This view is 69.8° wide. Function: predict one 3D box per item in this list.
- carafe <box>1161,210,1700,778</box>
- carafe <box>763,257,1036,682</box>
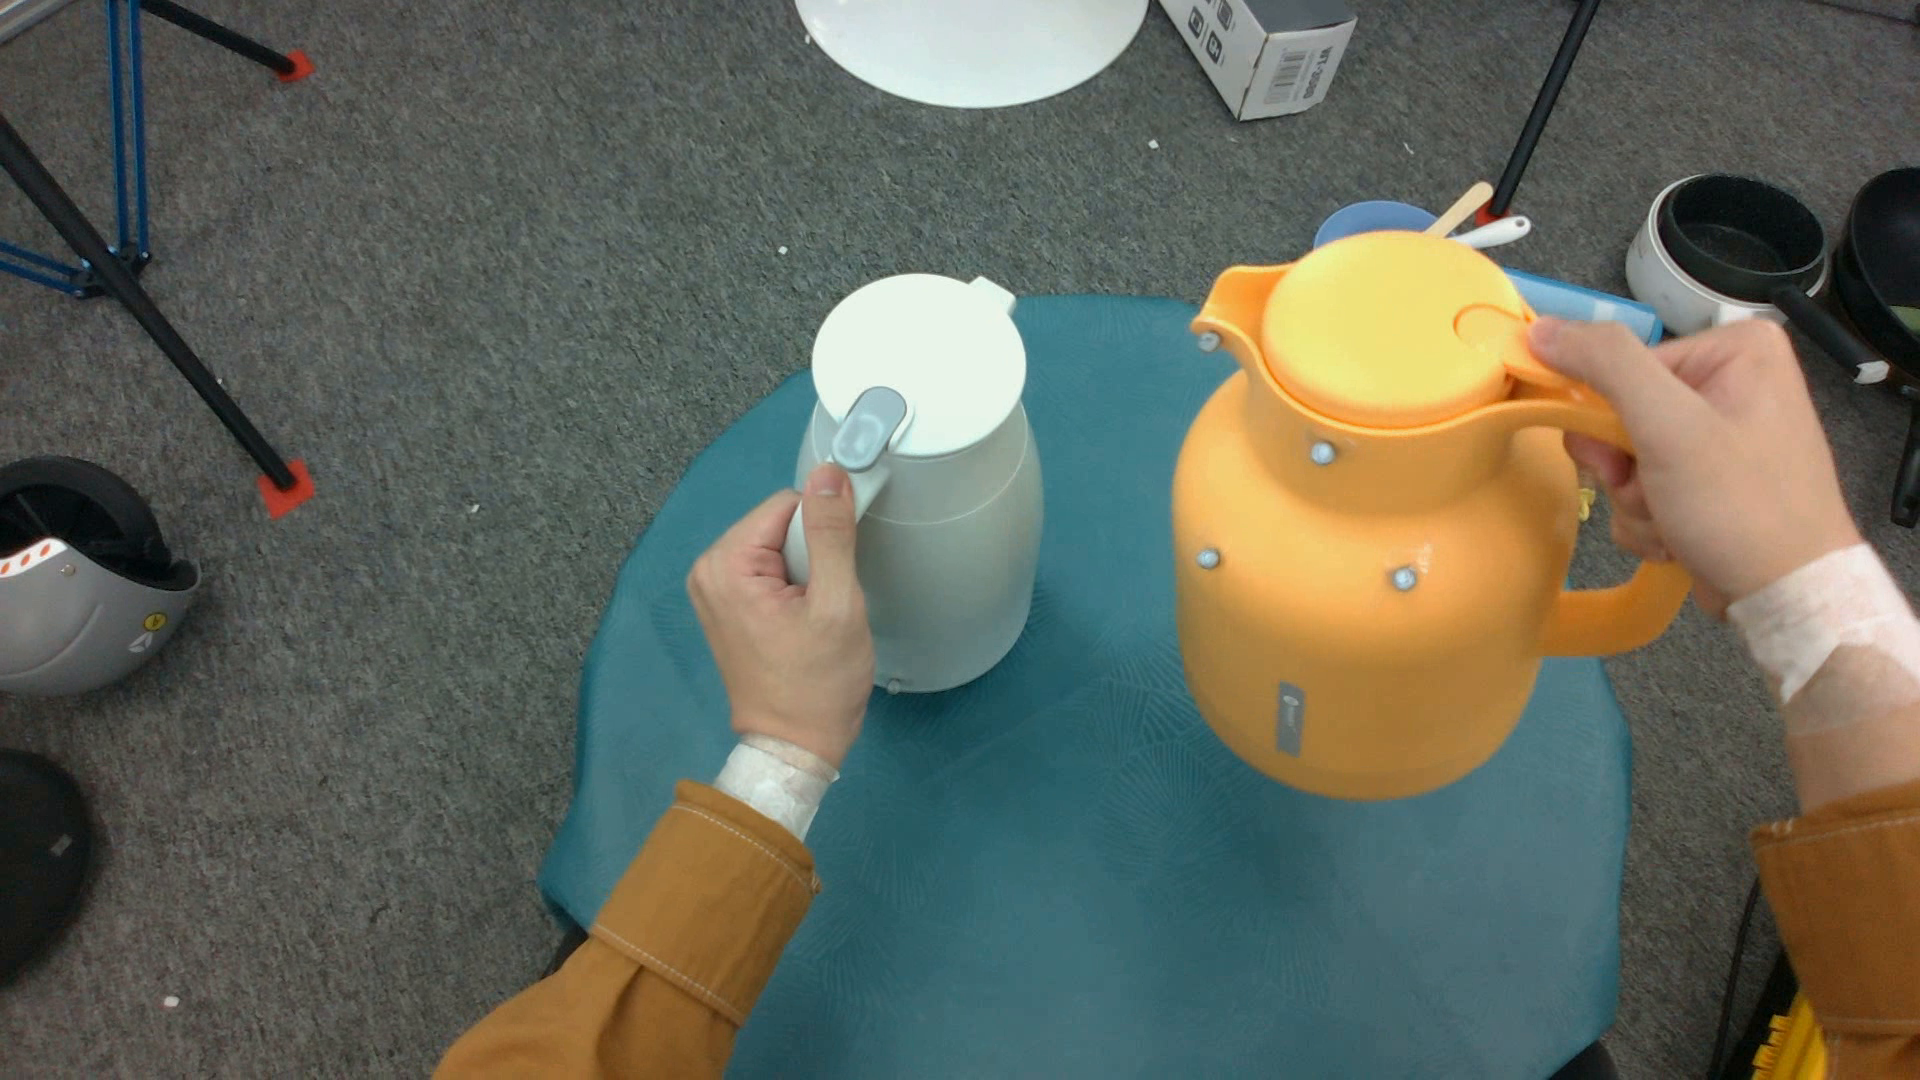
[{"bbox_3d":[0.183,-0.010,0.576,0.202,0.259,0.164,18,62,24],"label":"carafe"},{"bbox_3d":[-0.034,-0.018,0.680,0.132,0.247,0.168,31,67,12],"label":"carafe"}]
